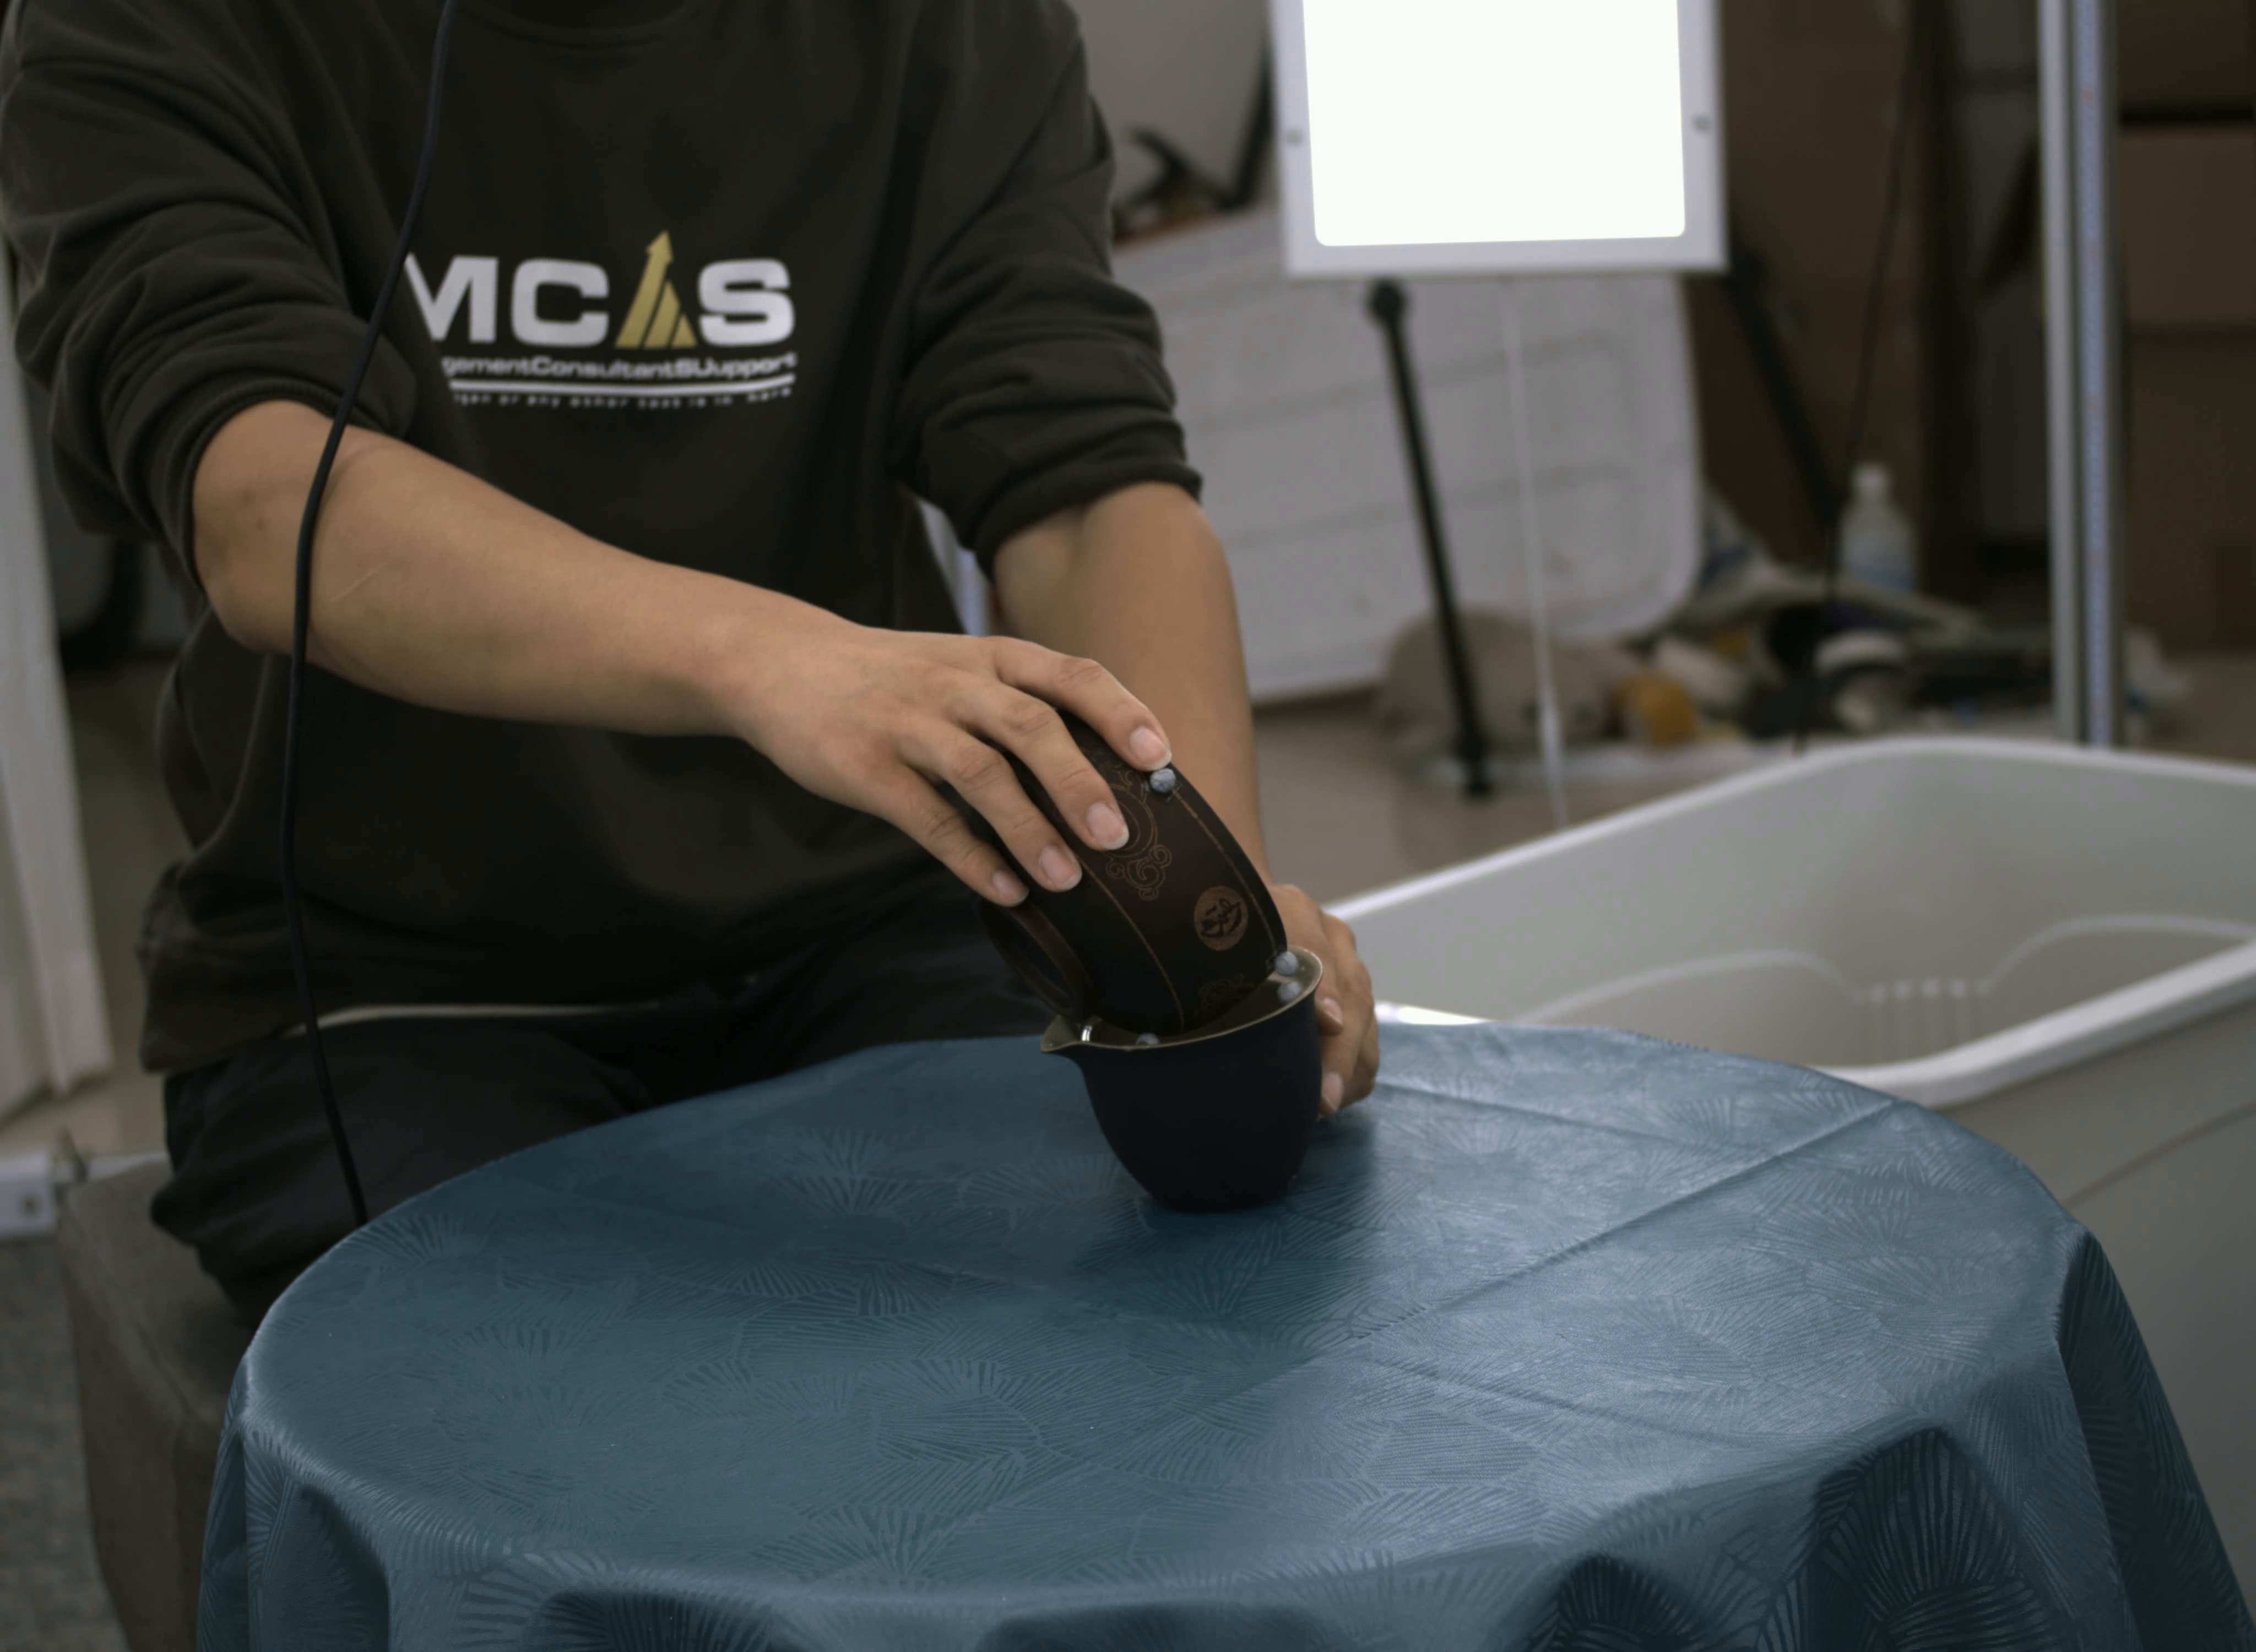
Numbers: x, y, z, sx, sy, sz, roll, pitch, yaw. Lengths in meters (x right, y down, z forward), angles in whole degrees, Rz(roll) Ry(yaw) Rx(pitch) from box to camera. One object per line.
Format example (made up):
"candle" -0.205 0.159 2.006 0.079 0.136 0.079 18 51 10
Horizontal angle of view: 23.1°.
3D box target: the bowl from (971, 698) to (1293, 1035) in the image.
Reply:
"bowl" -0.008 0.022 1.848 0.069 0.117 0.120 -42 26 -15

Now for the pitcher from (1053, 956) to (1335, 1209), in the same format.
"pitcher" 0.027 0.089 1.879 0.095 0.071 0.084 -16 21 -6
